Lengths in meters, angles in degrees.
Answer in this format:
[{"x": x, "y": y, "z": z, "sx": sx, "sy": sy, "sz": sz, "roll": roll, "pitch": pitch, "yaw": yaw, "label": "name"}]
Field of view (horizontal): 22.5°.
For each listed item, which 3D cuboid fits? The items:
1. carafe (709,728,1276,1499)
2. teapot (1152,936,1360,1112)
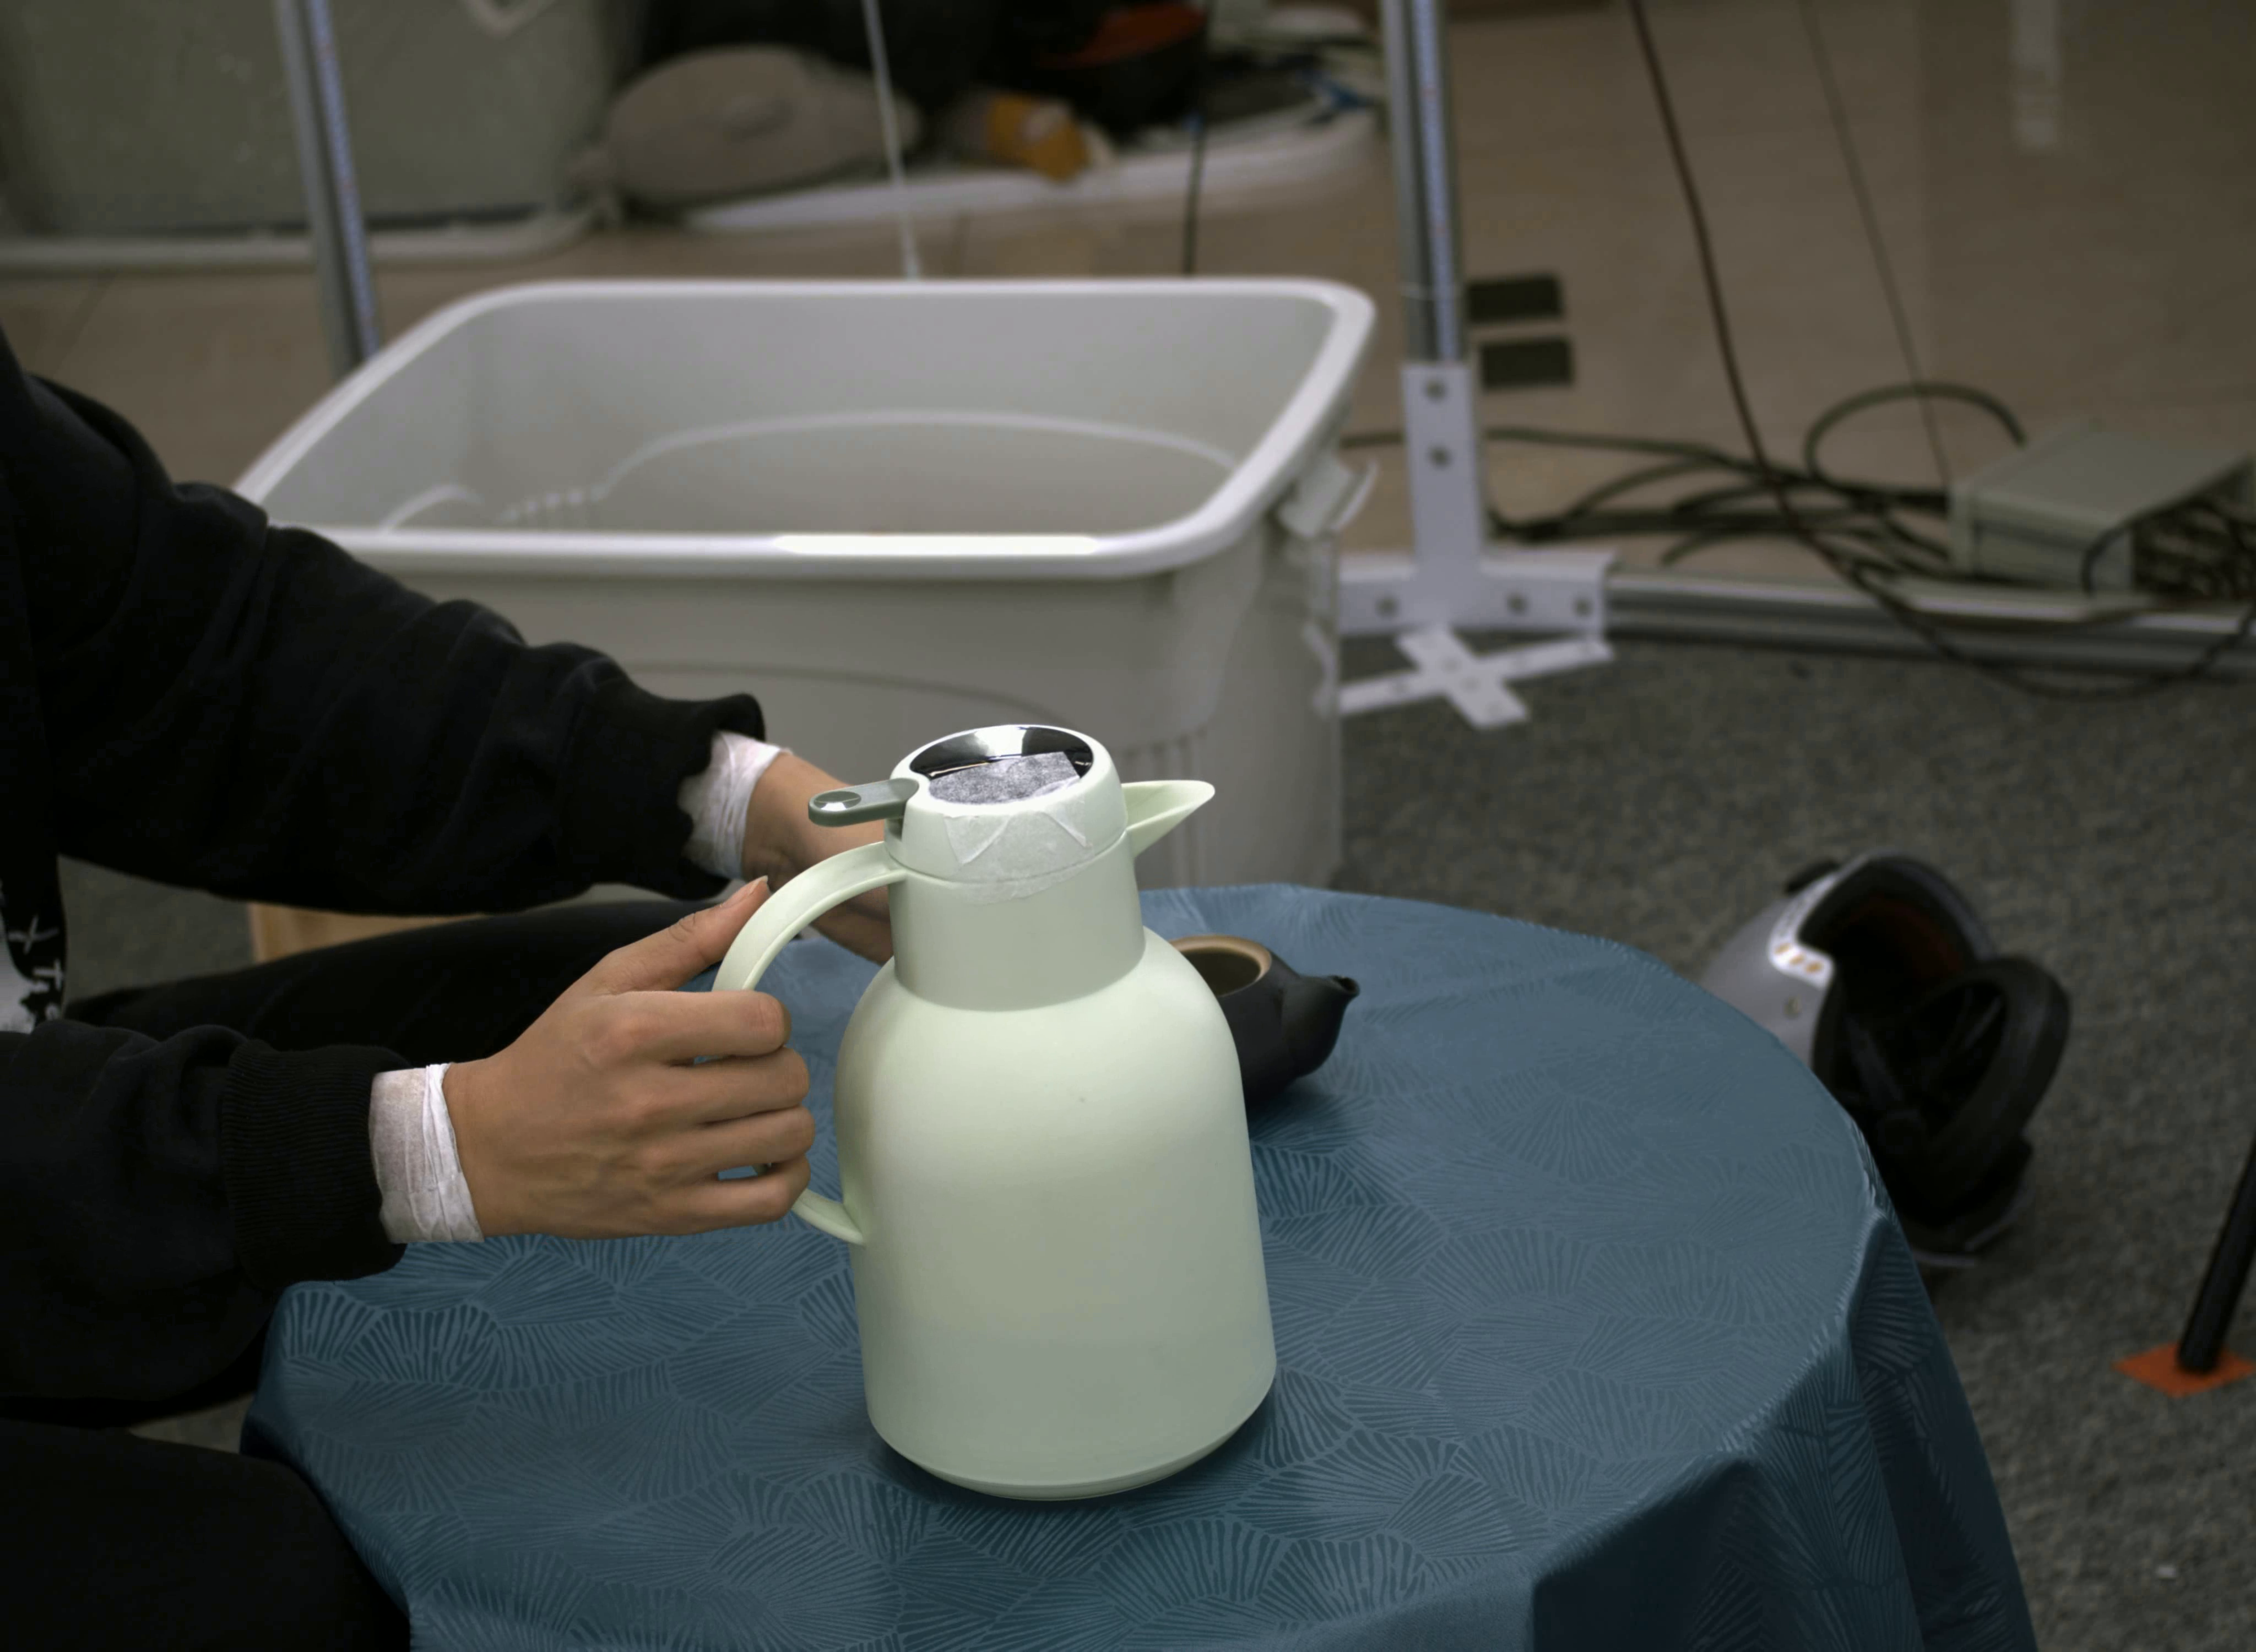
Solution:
[{"x": -0.045, "y": 0.098, "z": 1.950, "sx": 0.186, "sy": 0.261, "sz": 0.142, "roll": -16, "pitch": 29, "yaw": -13, "label": "carafe"}, {"x": 0.029, "y": 0.078, "z": 2.209, "sx": 0.133, "sy": 0.054, "sz": 0.090, "roll": 5, "pitch": 26, "yaw": 22, "label": "teapot"}]
